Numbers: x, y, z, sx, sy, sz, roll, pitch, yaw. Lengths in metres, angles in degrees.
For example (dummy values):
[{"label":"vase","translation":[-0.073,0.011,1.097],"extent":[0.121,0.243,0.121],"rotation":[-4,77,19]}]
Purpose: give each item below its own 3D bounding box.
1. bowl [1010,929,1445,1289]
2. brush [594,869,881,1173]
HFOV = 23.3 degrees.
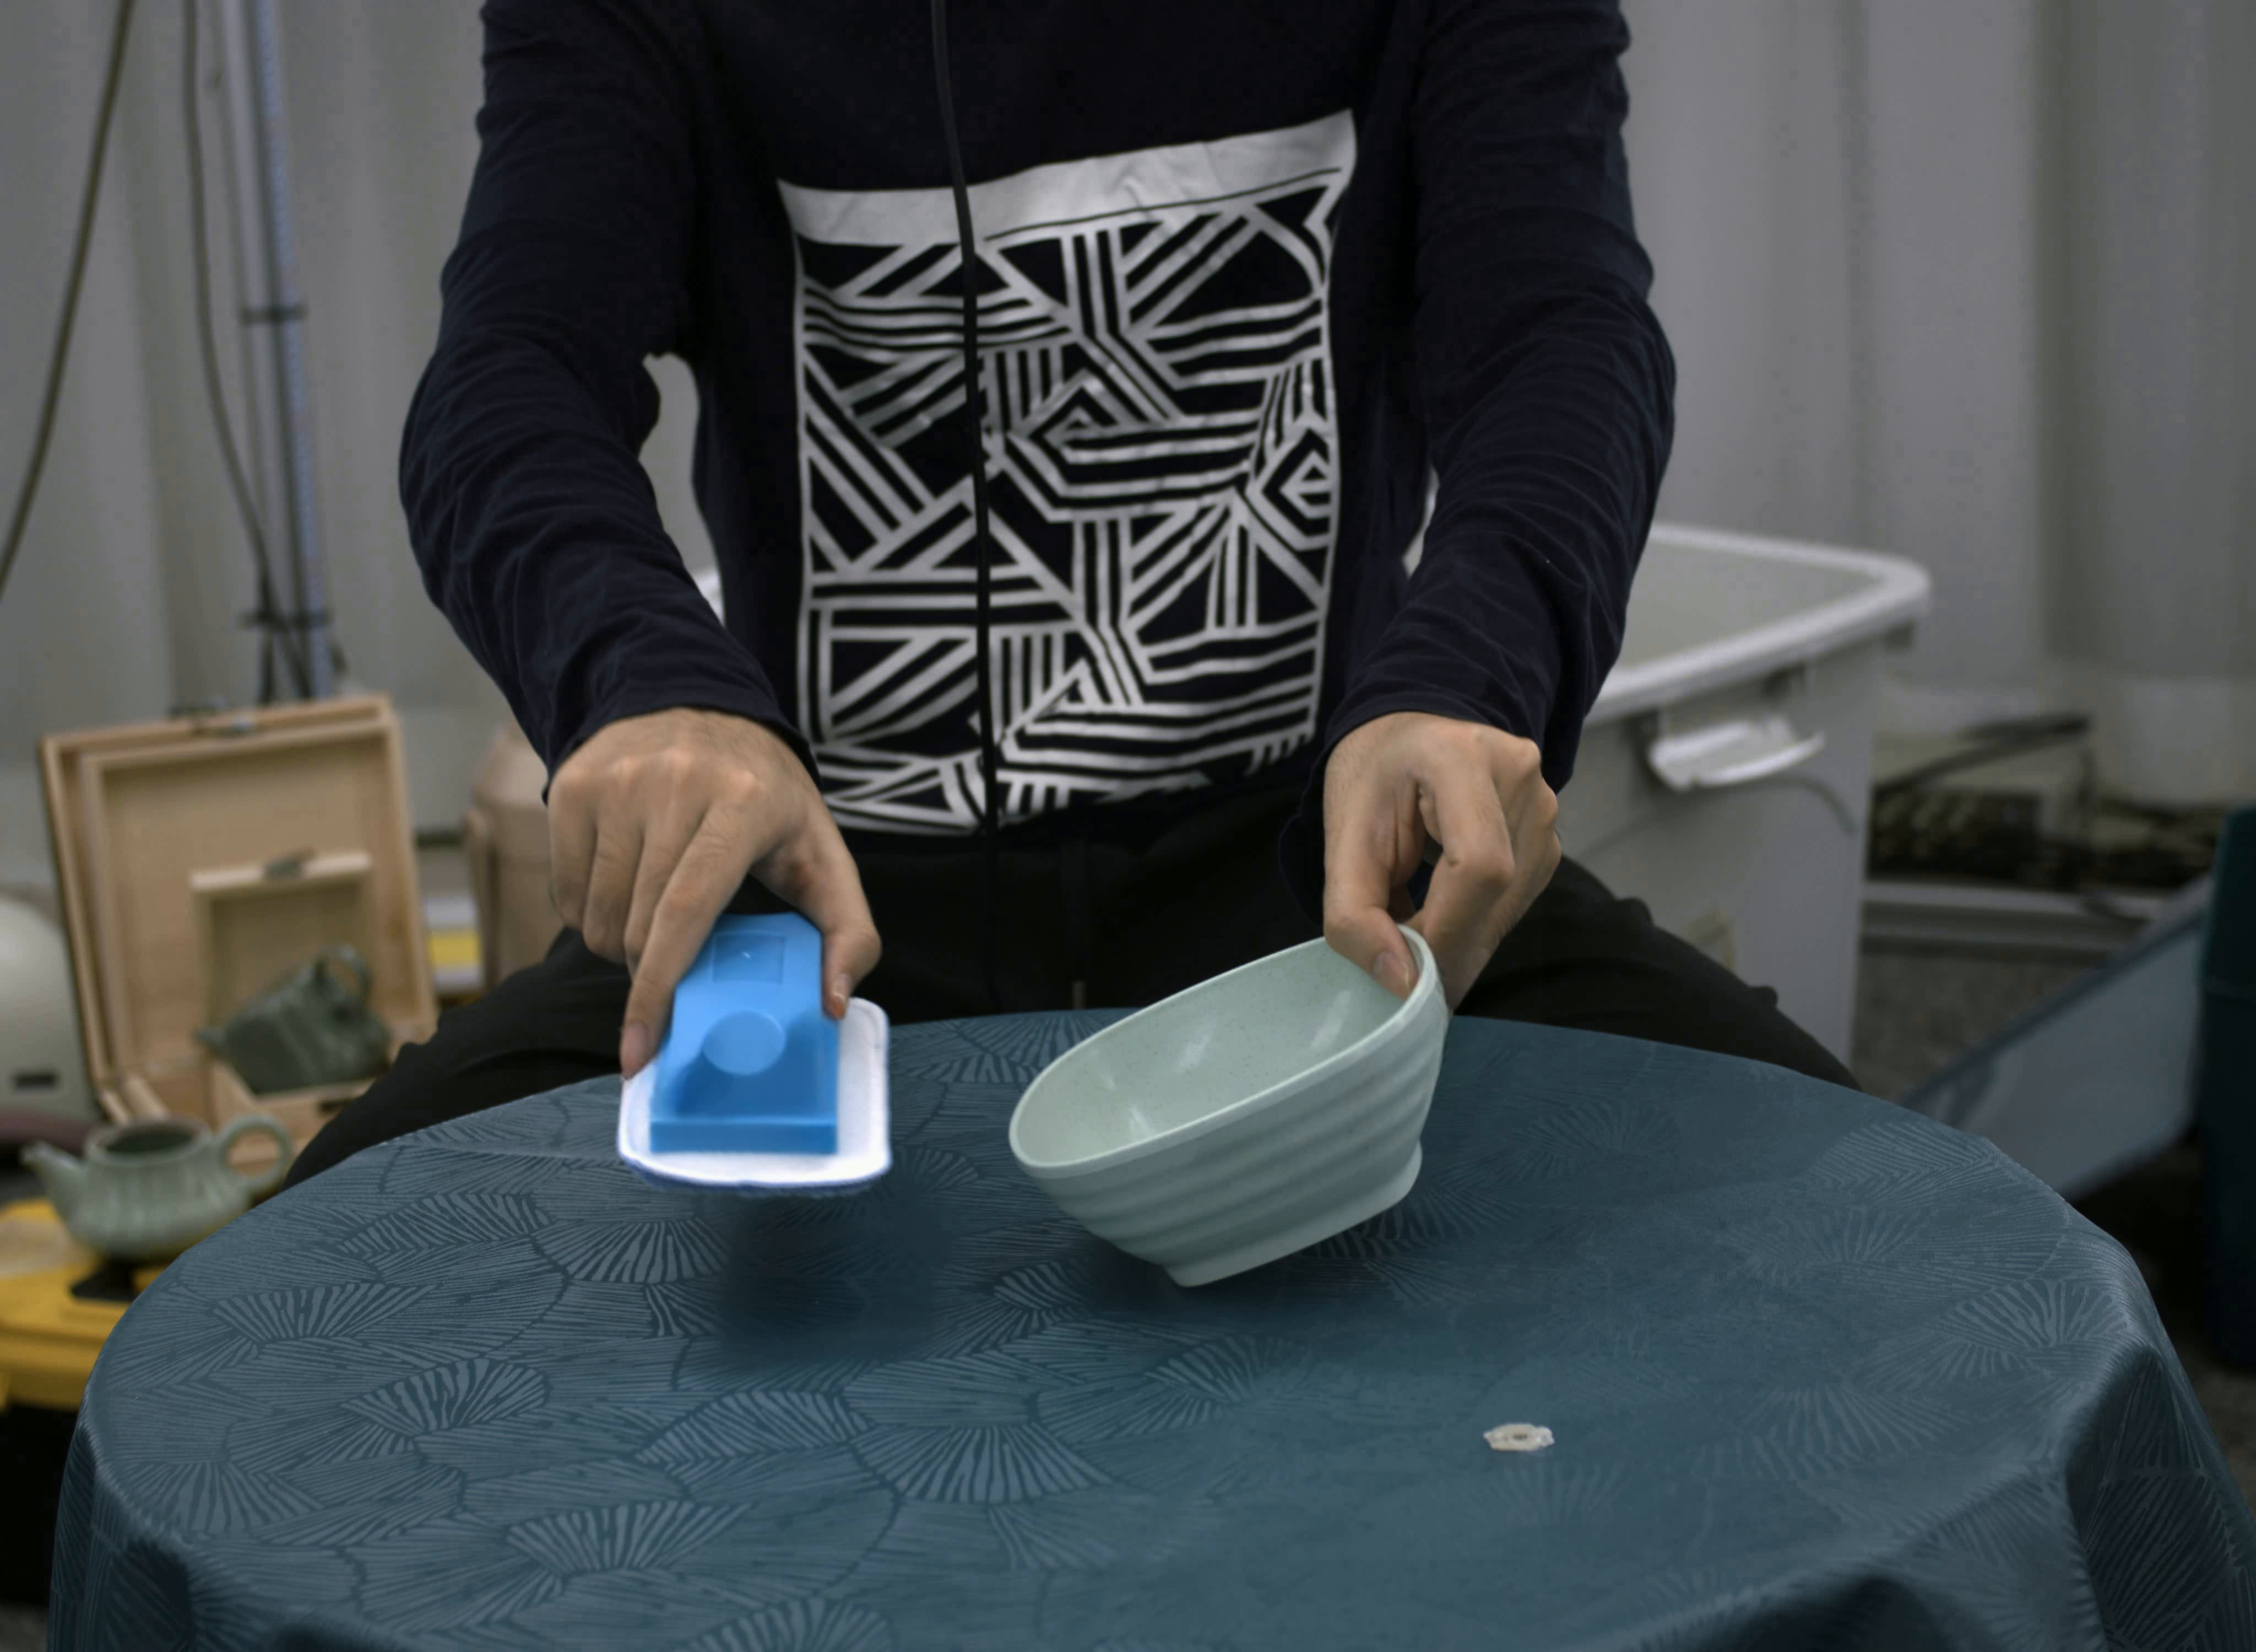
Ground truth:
[{"label":"bowl","translation":[0.039,0.091,1.643],"extent":[0.151,0.058,0.152],"rotation":[-23,13,5]},{"label":"brush","translation":[-0.116,0.055,1.654],"extent":[0.083,0.055,0.145],"rotation":[6,21,-3]}]
